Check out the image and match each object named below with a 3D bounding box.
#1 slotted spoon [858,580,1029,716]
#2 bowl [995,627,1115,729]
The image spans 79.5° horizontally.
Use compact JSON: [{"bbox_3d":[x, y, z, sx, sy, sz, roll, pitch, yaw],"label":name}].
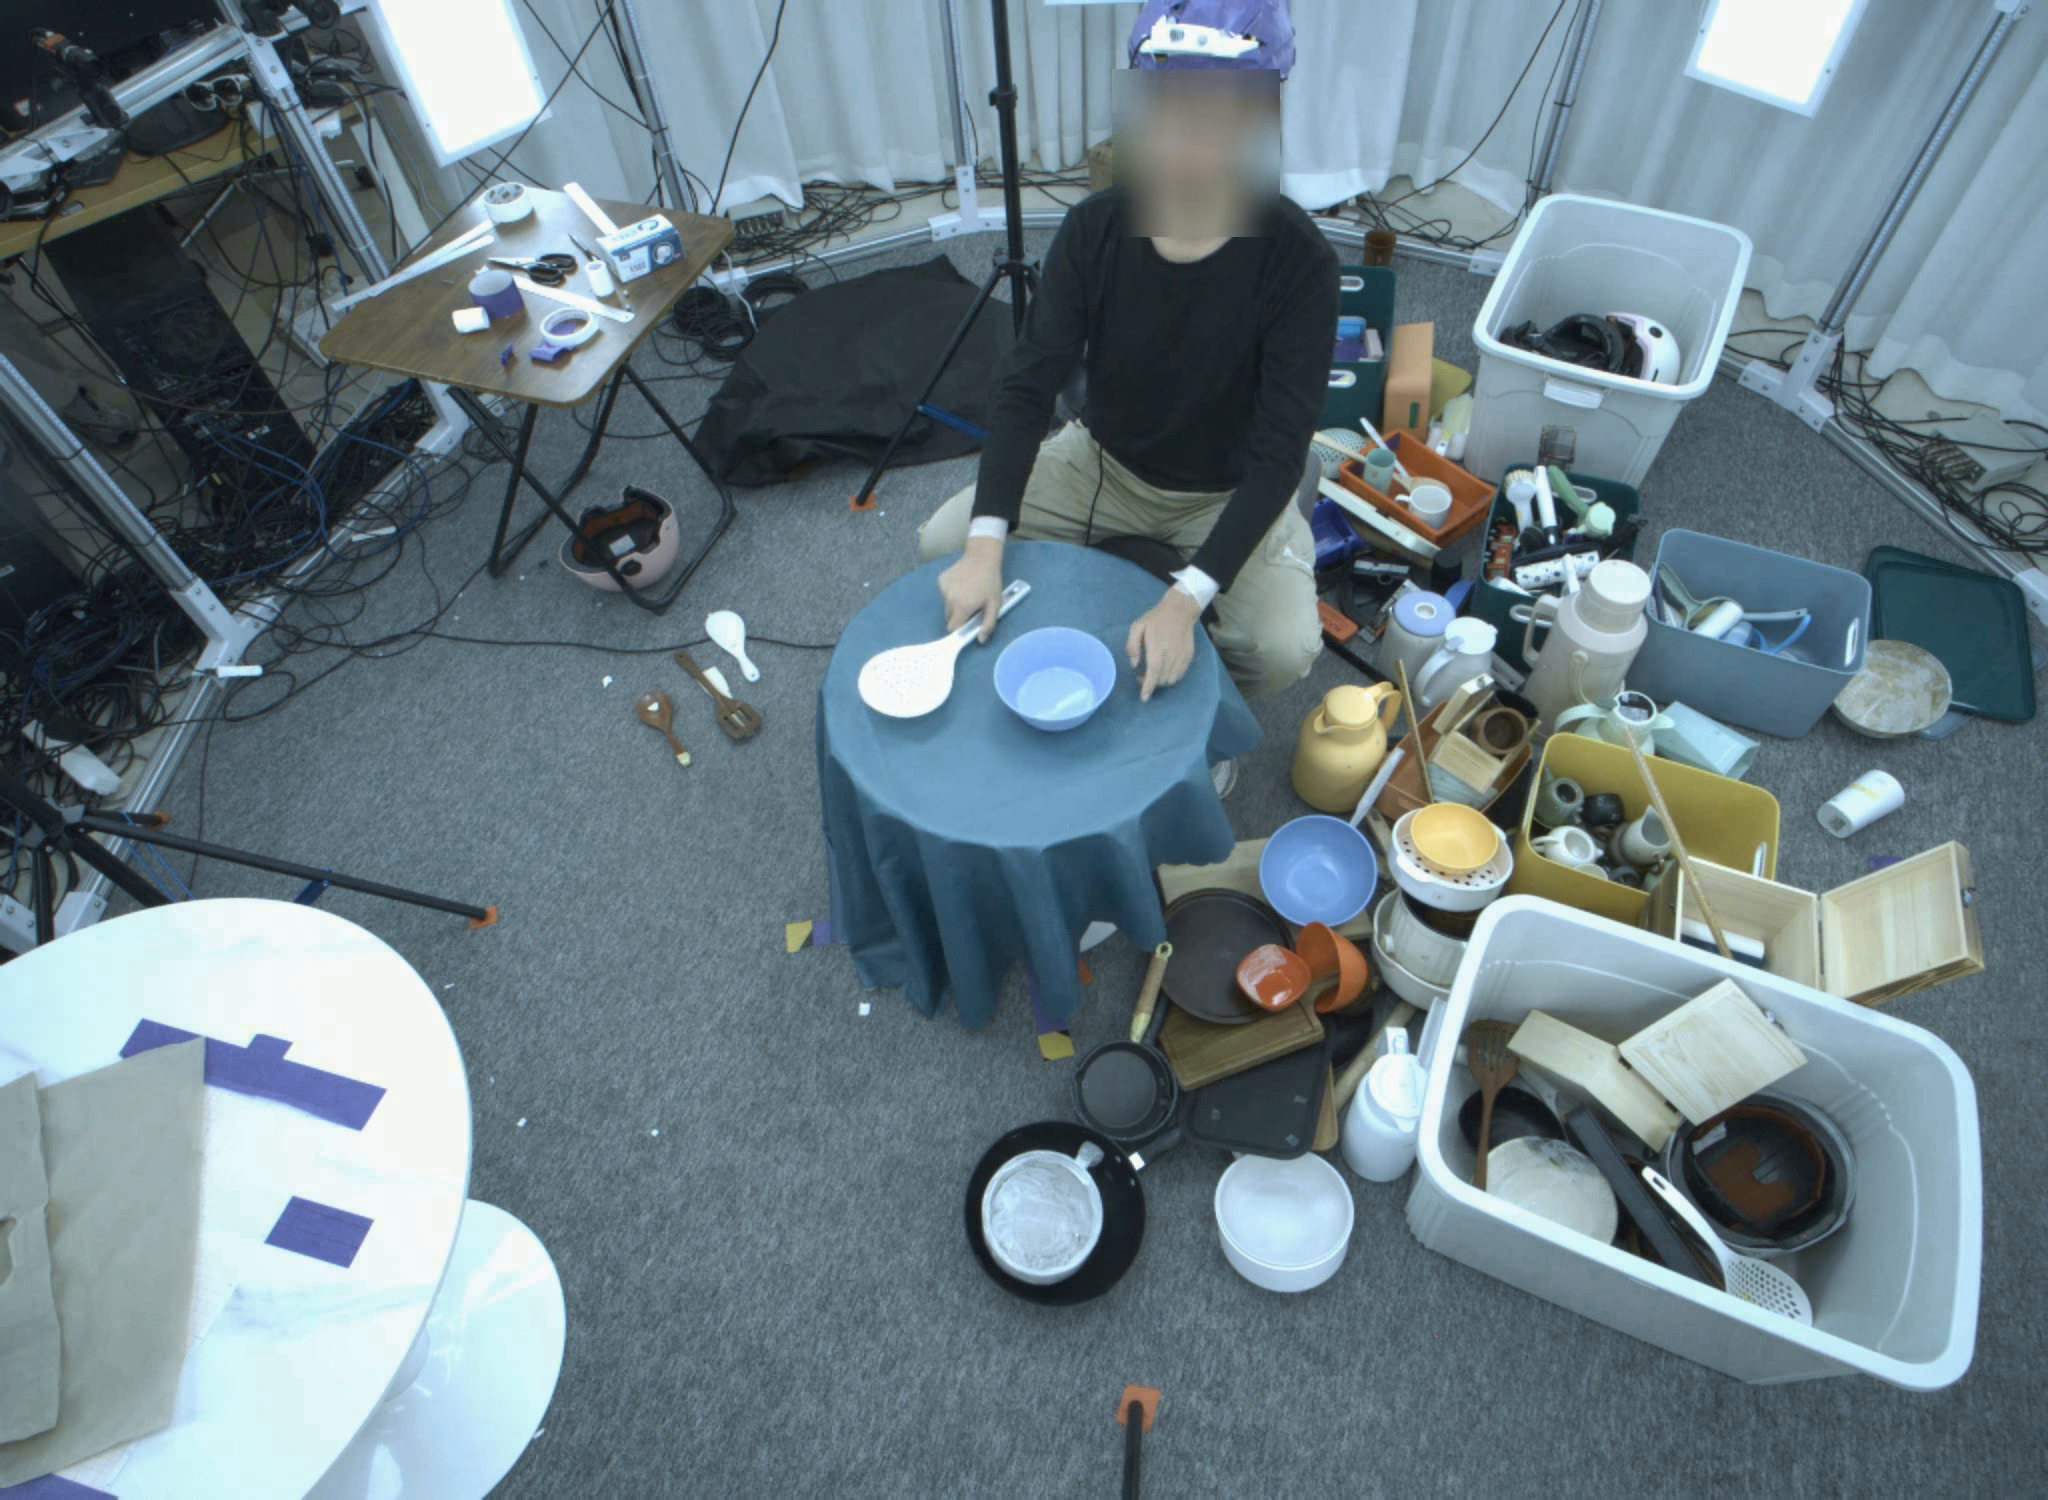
[{"bbox_3d":[-0.111,-0.163,1.878,0.134,0.046,0.352,32,61,21],"label":"slotted spoon"},{"bbox_3d":[0.047,-0.095,1.811,0.176,0.071,0.174,0,54,2],"label":"bowl"}]
